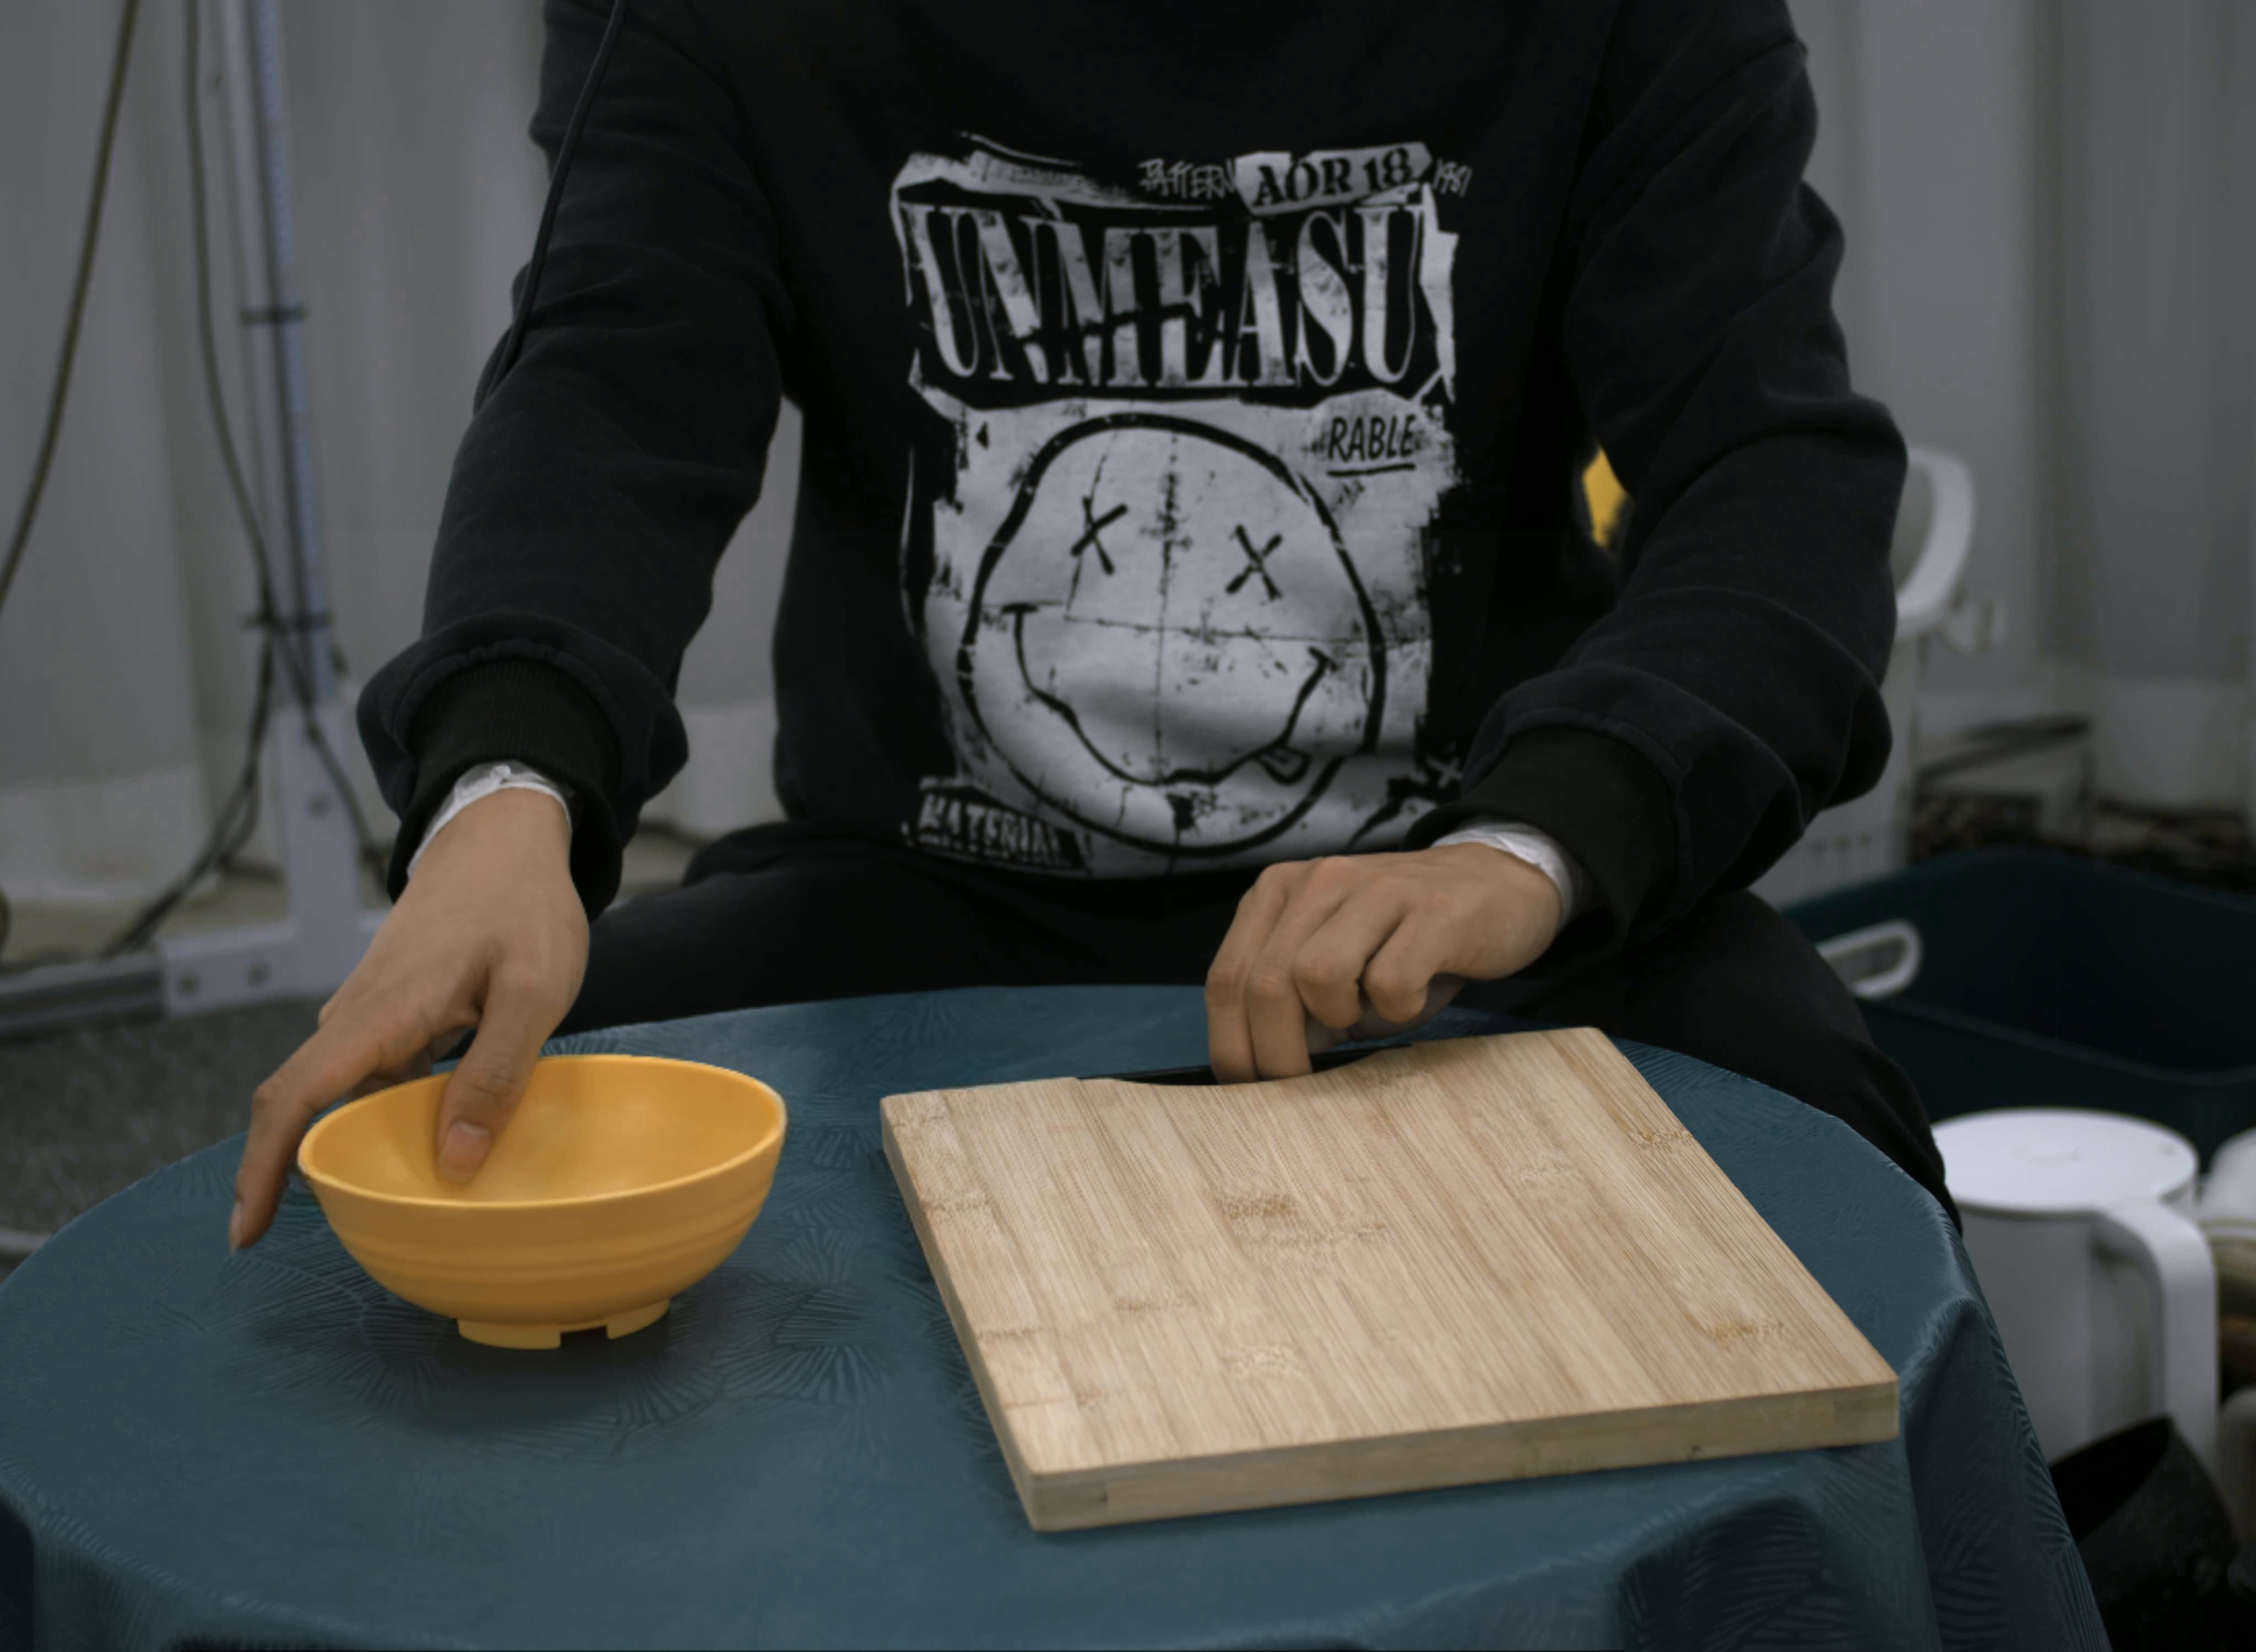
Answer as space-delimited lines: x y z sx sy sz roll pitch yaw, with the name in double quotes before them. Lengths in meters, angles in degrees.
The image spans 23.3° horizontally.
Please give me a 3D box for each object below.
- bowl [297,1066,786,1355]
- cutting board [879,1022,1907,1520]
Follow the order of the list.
"bowl" -0.173 0.119 1.625 0.145 0.060 0.146 -1 13 0
"cutting board" 0.065 0.126 1.627 0.249 0.023 0.351 -5 15 -9
